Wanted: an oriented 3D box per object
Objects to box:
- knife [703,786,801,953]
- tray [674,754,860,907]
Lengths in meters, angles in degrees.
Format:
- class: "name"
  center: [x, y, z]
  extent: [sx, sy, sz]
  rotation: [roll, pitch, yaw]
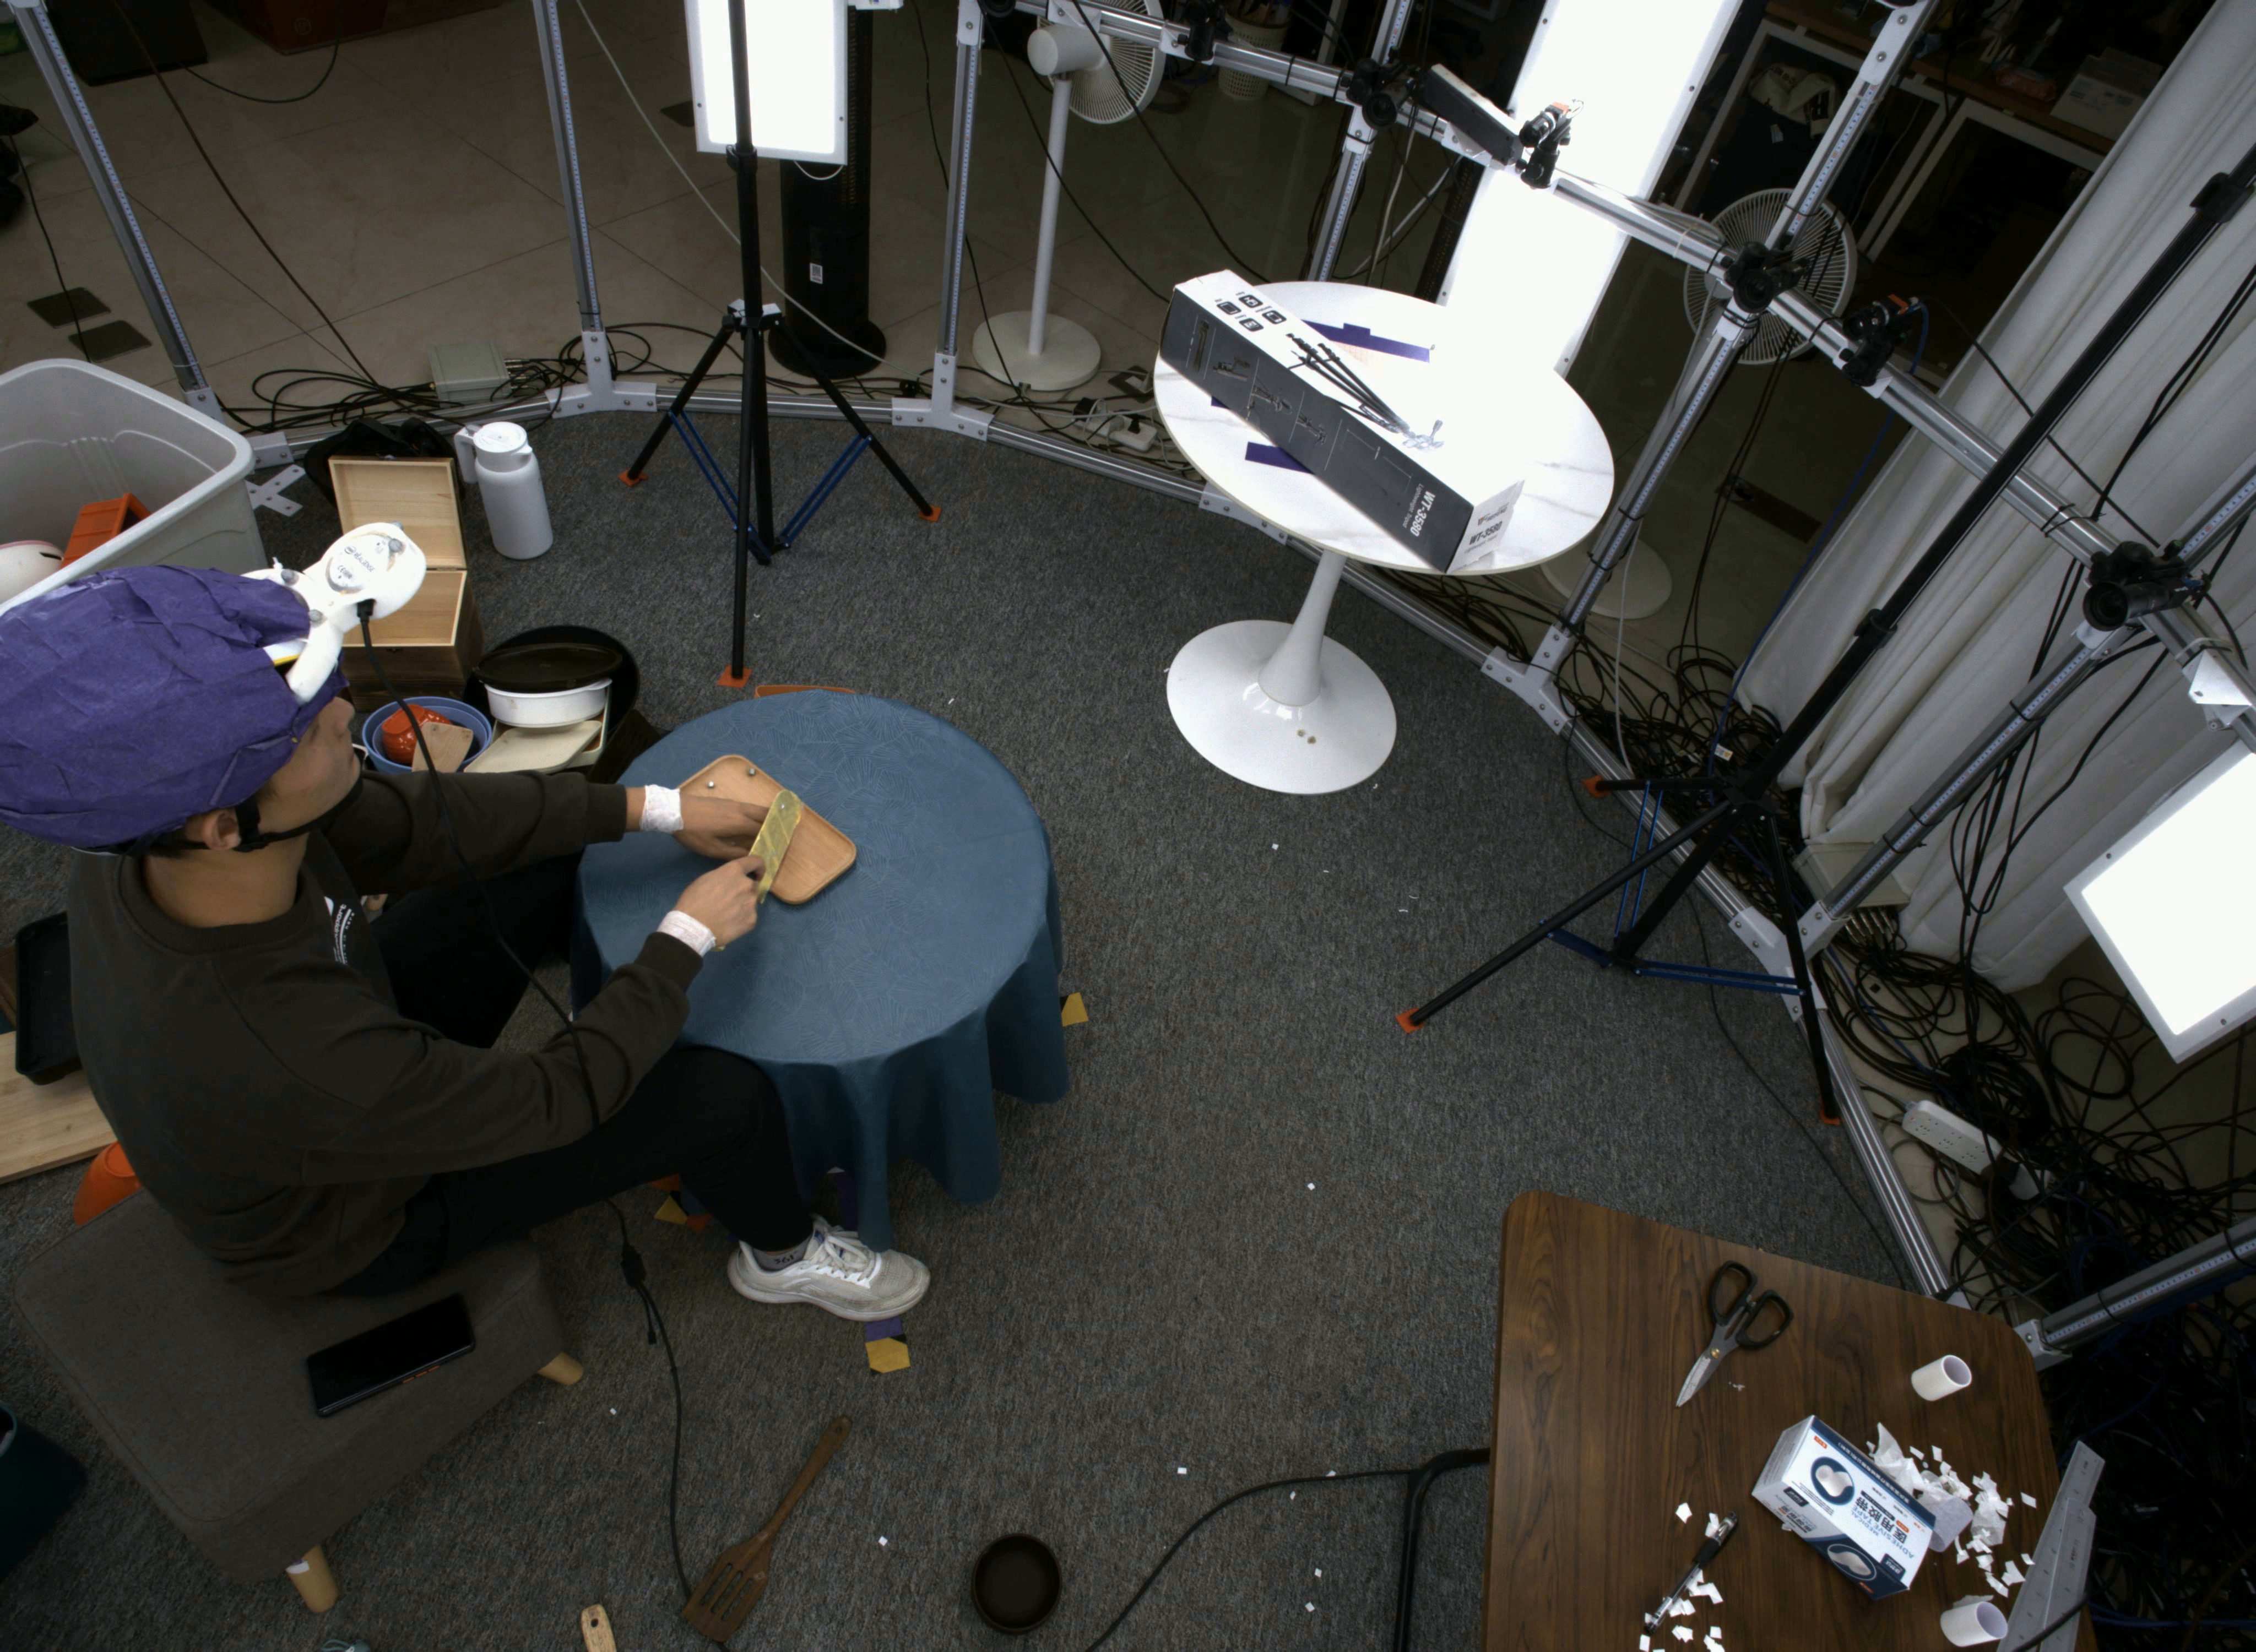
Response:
- class: "knife"
  center: [-0.459, 0.053, 1.609]
  extent: [0.026, 0.084, 0.285]
  rotation: [2, 43, 13]
- class: "tray"
  center: [-0.478, 0.003, 1.713]
  extent: [0.246, 0.023, 0.130]
  rotation: [38, 57, 11]
